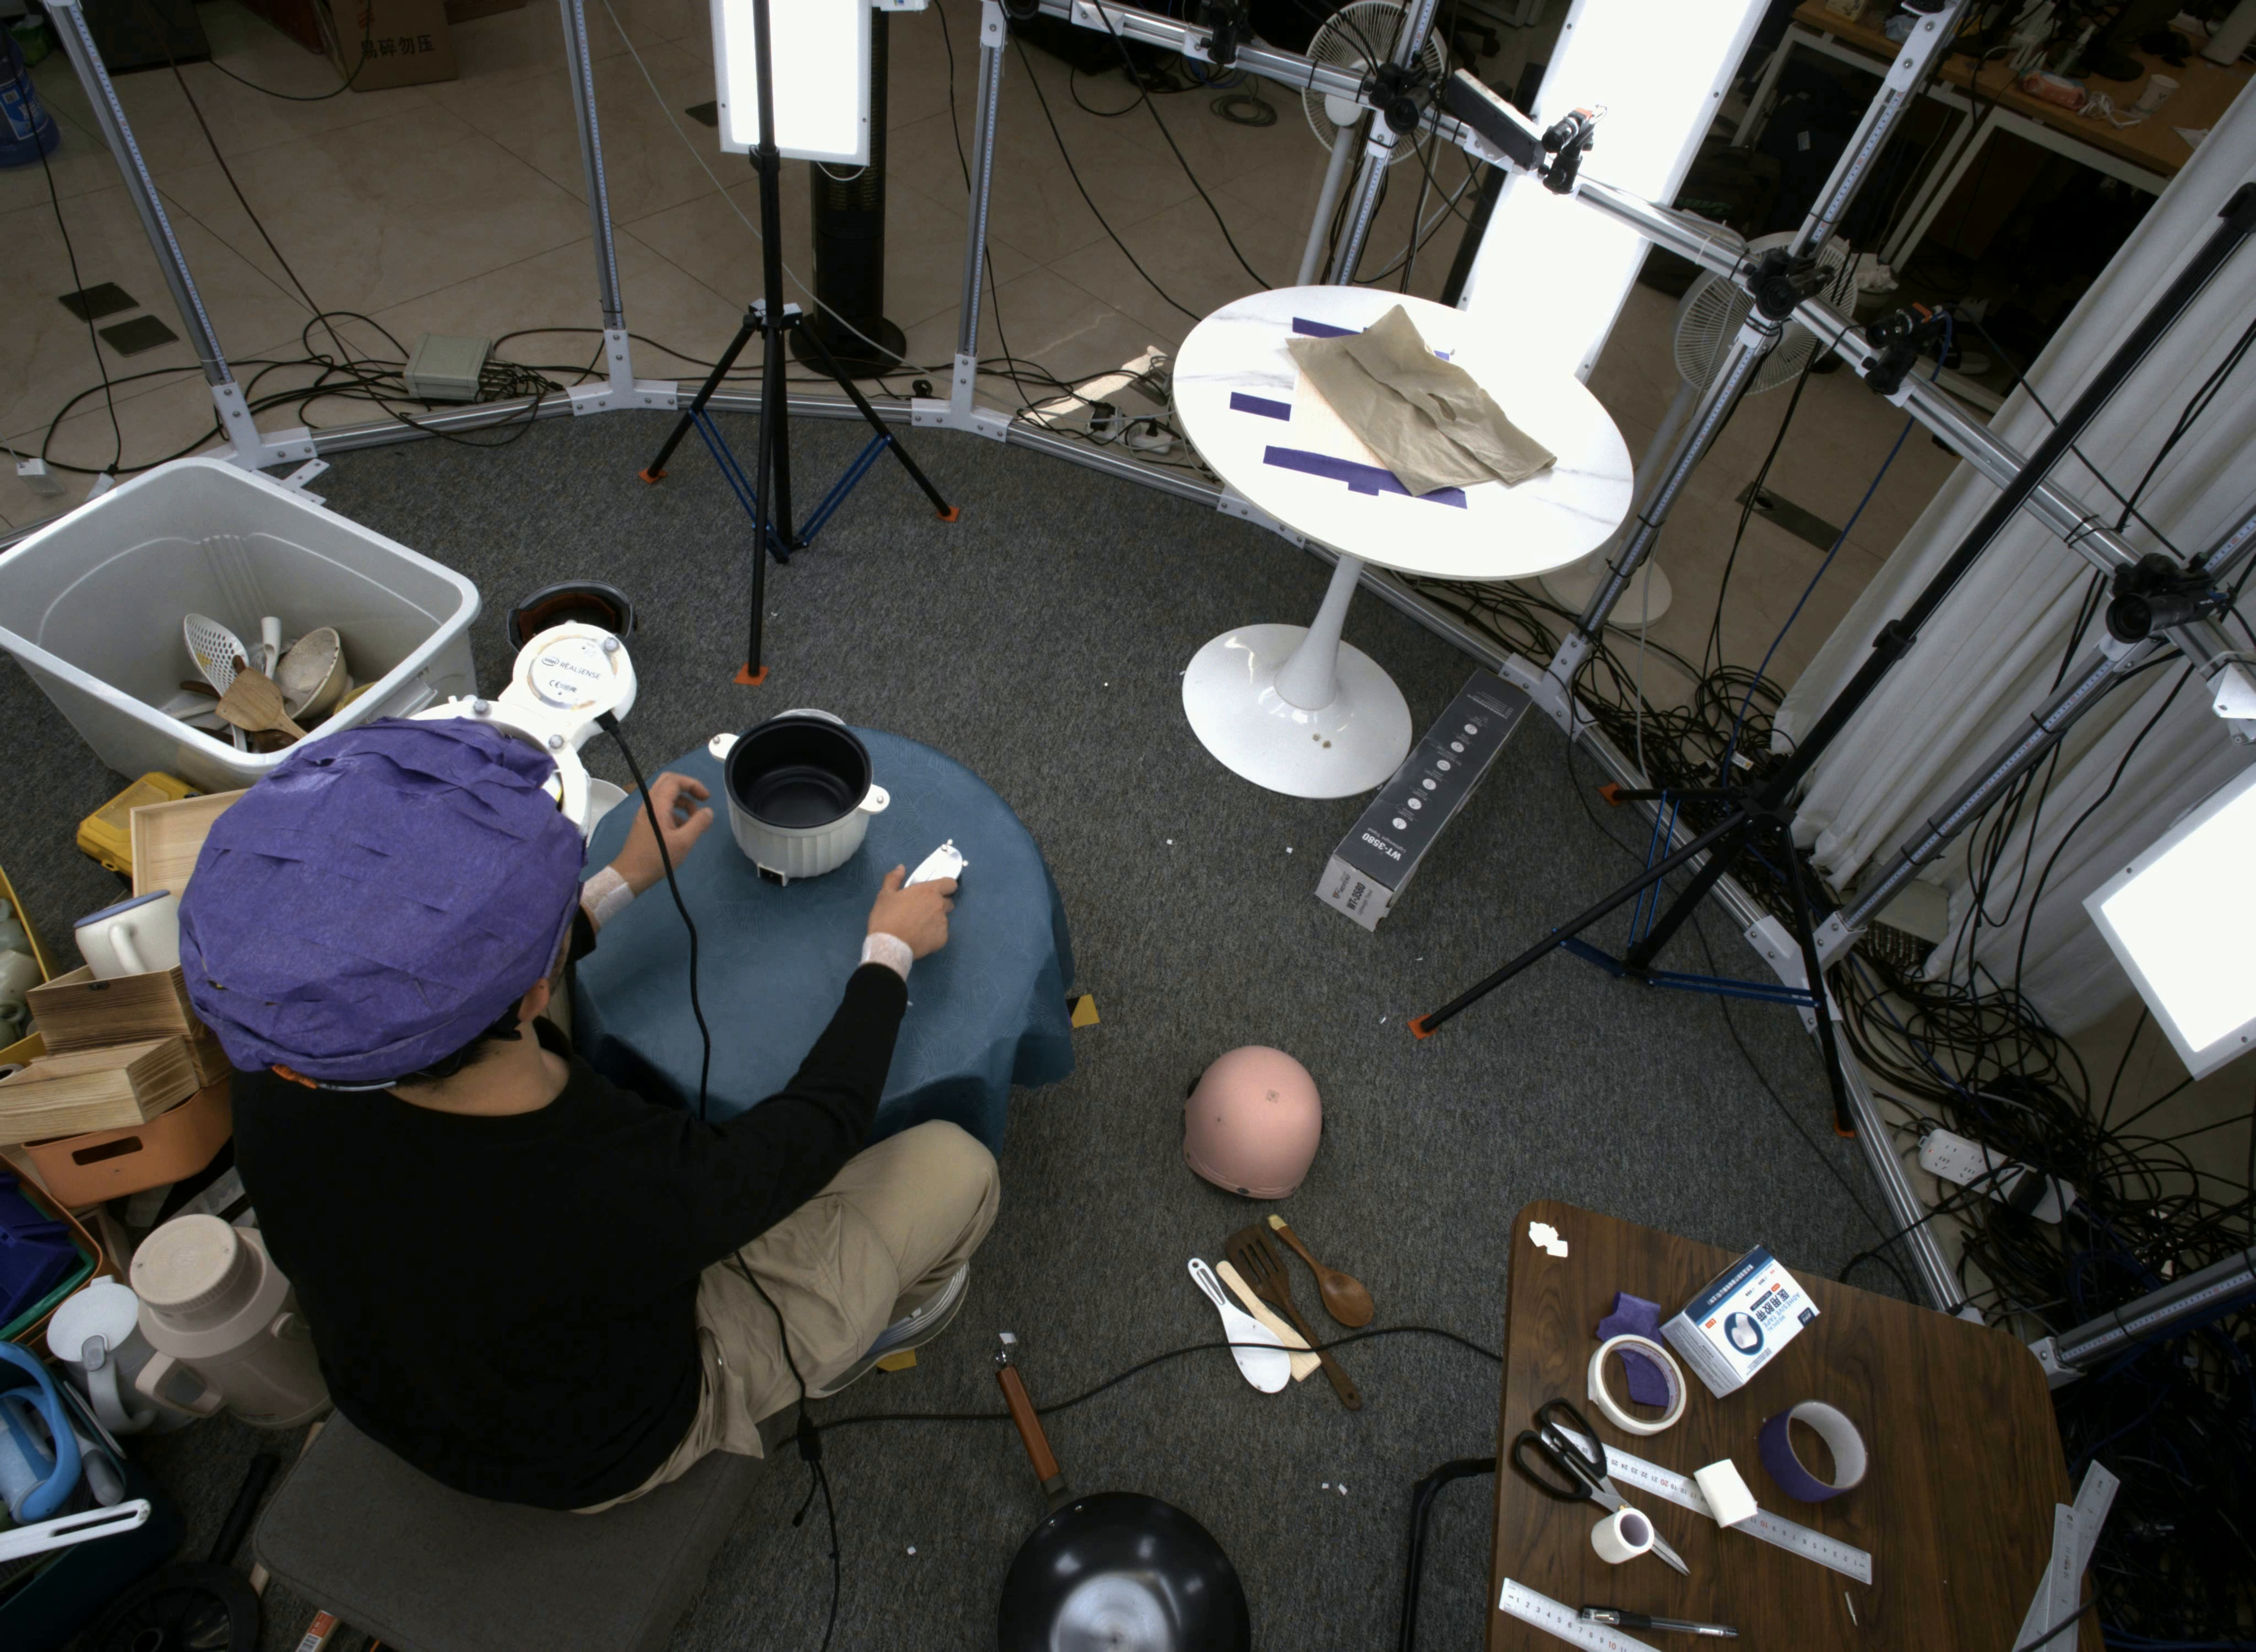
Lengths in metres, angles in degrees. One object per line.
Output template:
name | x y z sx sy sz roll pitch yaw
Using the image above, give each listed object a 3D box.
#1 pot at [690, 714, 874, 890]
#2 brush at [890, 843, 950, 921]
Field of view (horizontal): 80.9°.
pot | -0.438 -0.034 1.651 0.238 0.145 0.188 19 54 -1
brush | -0.266 0.063 1.666 0.049 0.074 0.099 29 52 11
